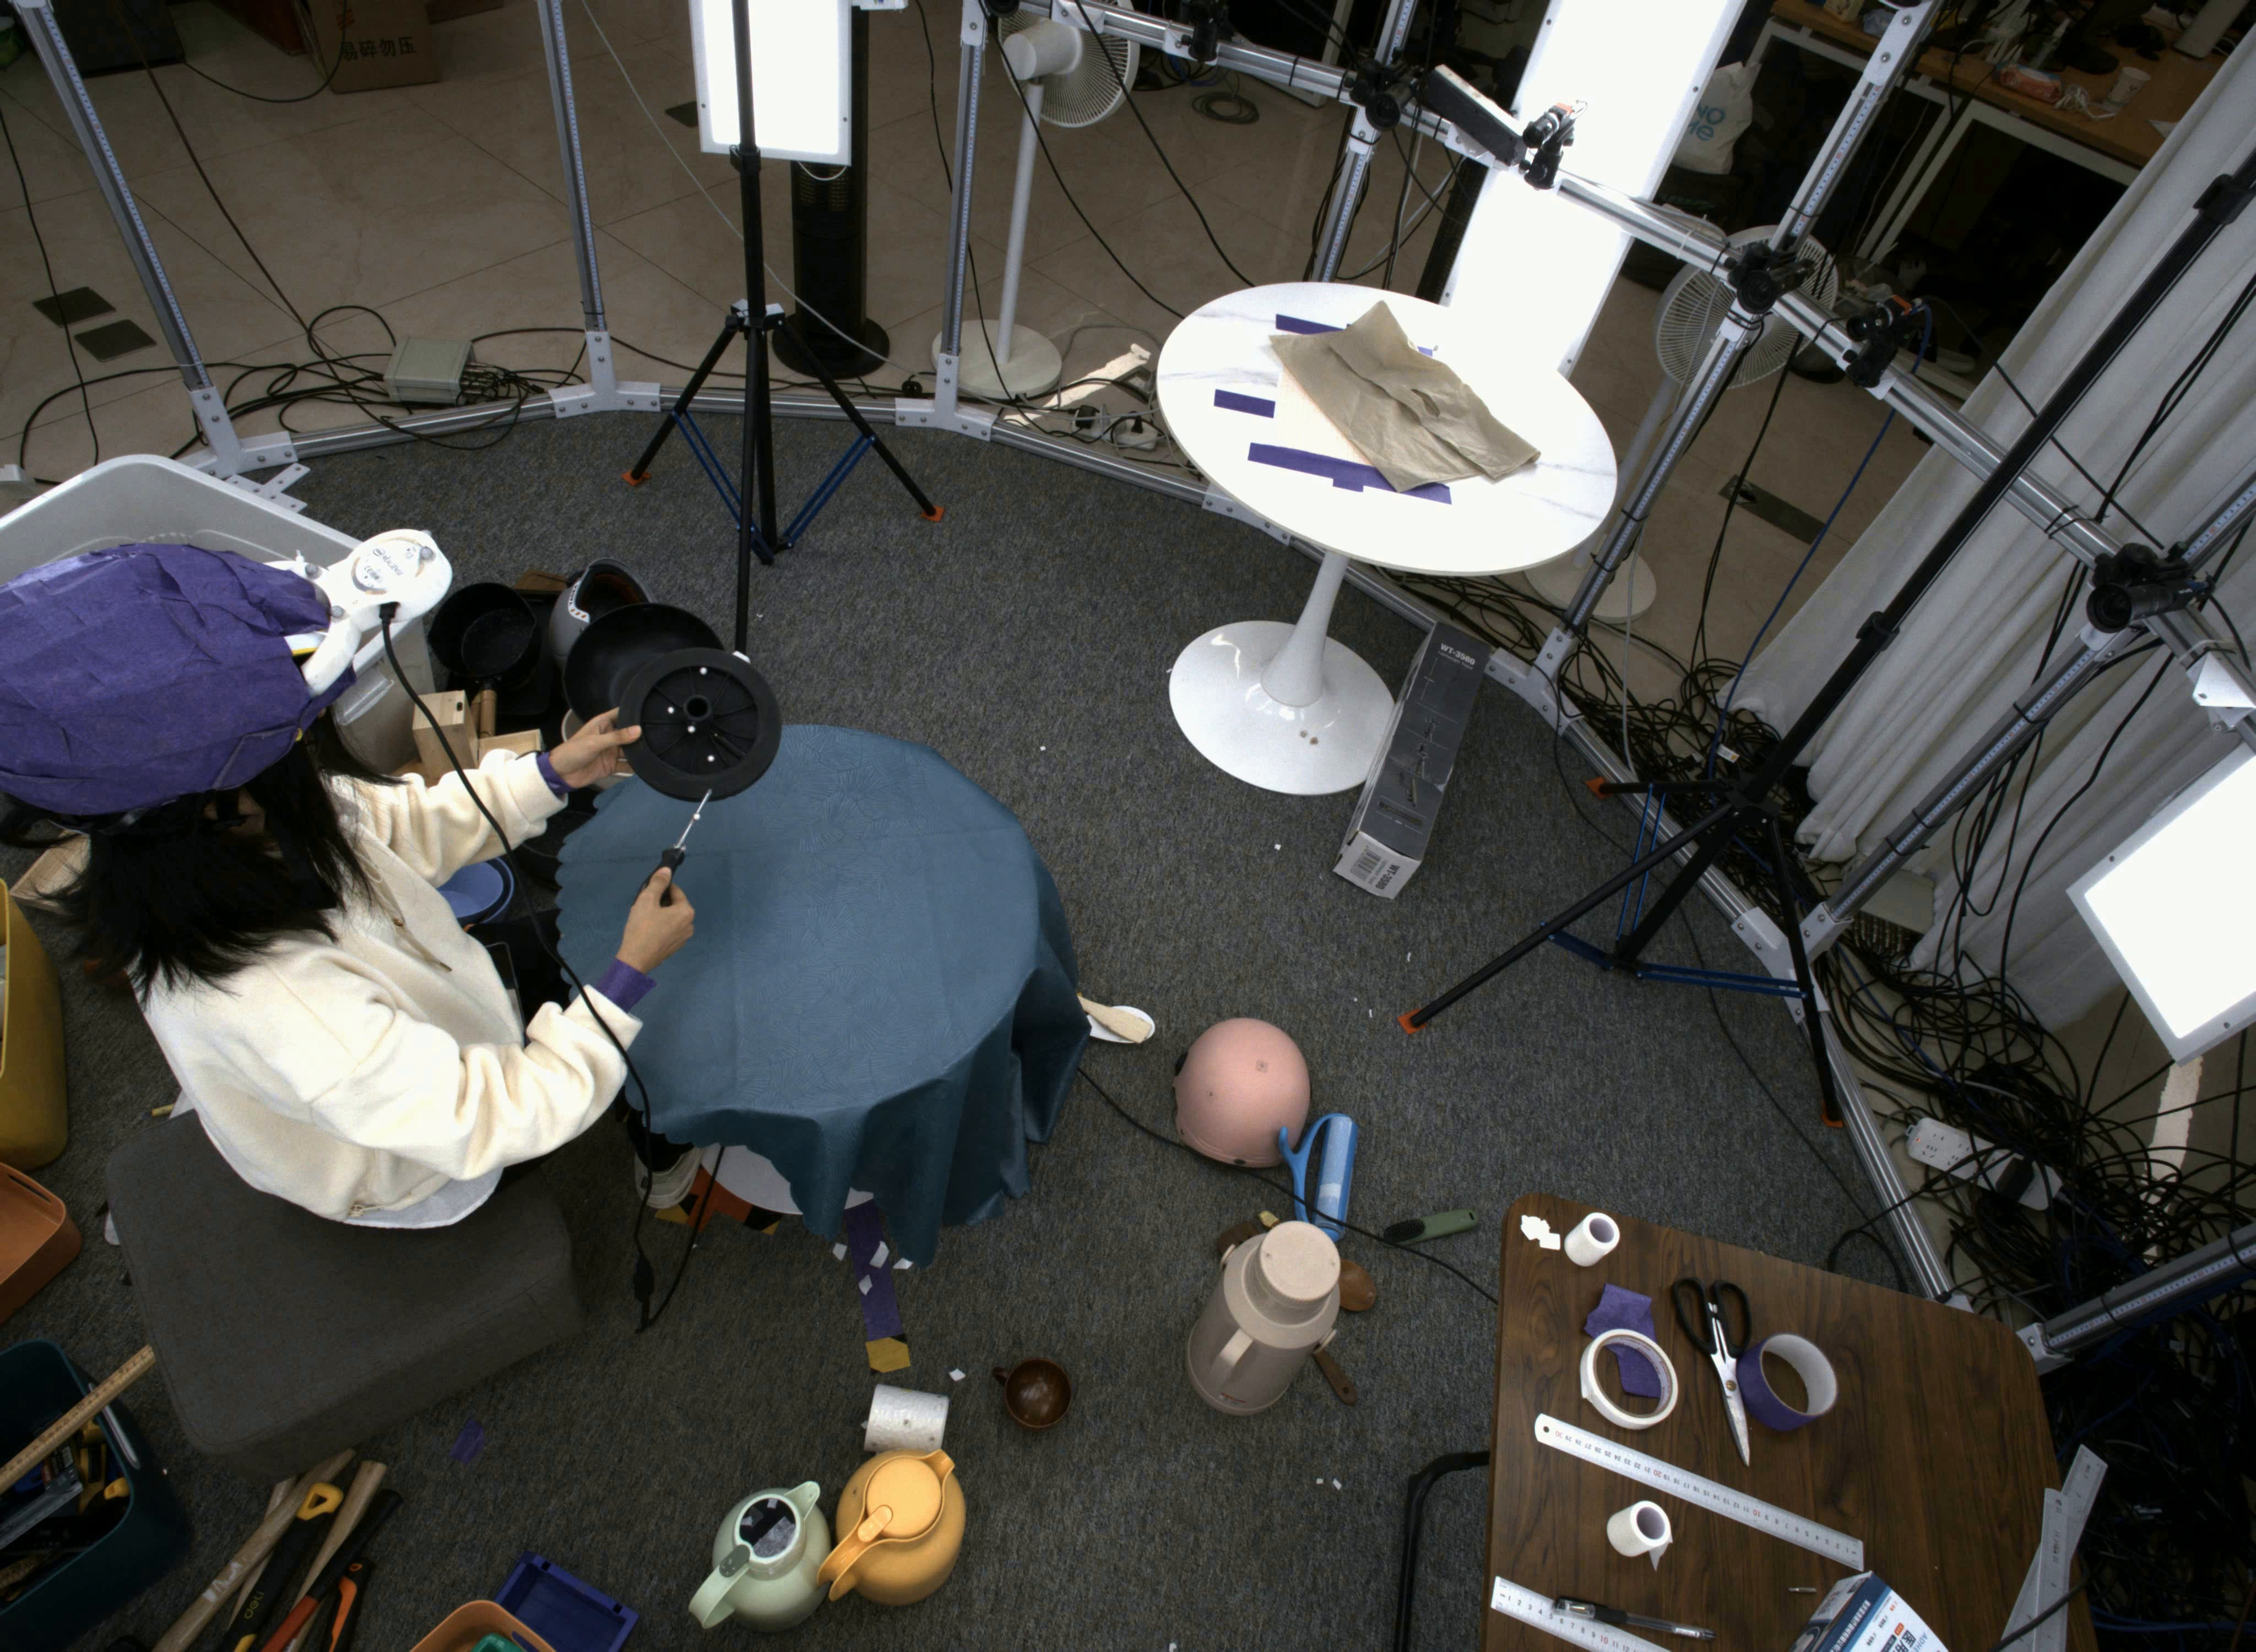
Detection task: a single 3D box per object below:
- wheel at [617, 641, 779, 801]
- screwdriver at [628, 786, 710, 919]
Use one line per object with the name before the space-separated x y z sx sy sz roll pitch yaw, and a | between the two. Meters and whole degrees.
wheel | -0.500 -0.129 1.491 0.191 0.078 0.187 16 75 -16
screwdriver | -0.500 0.021 1.418 0.031 0.032 0.194 17 50 1
